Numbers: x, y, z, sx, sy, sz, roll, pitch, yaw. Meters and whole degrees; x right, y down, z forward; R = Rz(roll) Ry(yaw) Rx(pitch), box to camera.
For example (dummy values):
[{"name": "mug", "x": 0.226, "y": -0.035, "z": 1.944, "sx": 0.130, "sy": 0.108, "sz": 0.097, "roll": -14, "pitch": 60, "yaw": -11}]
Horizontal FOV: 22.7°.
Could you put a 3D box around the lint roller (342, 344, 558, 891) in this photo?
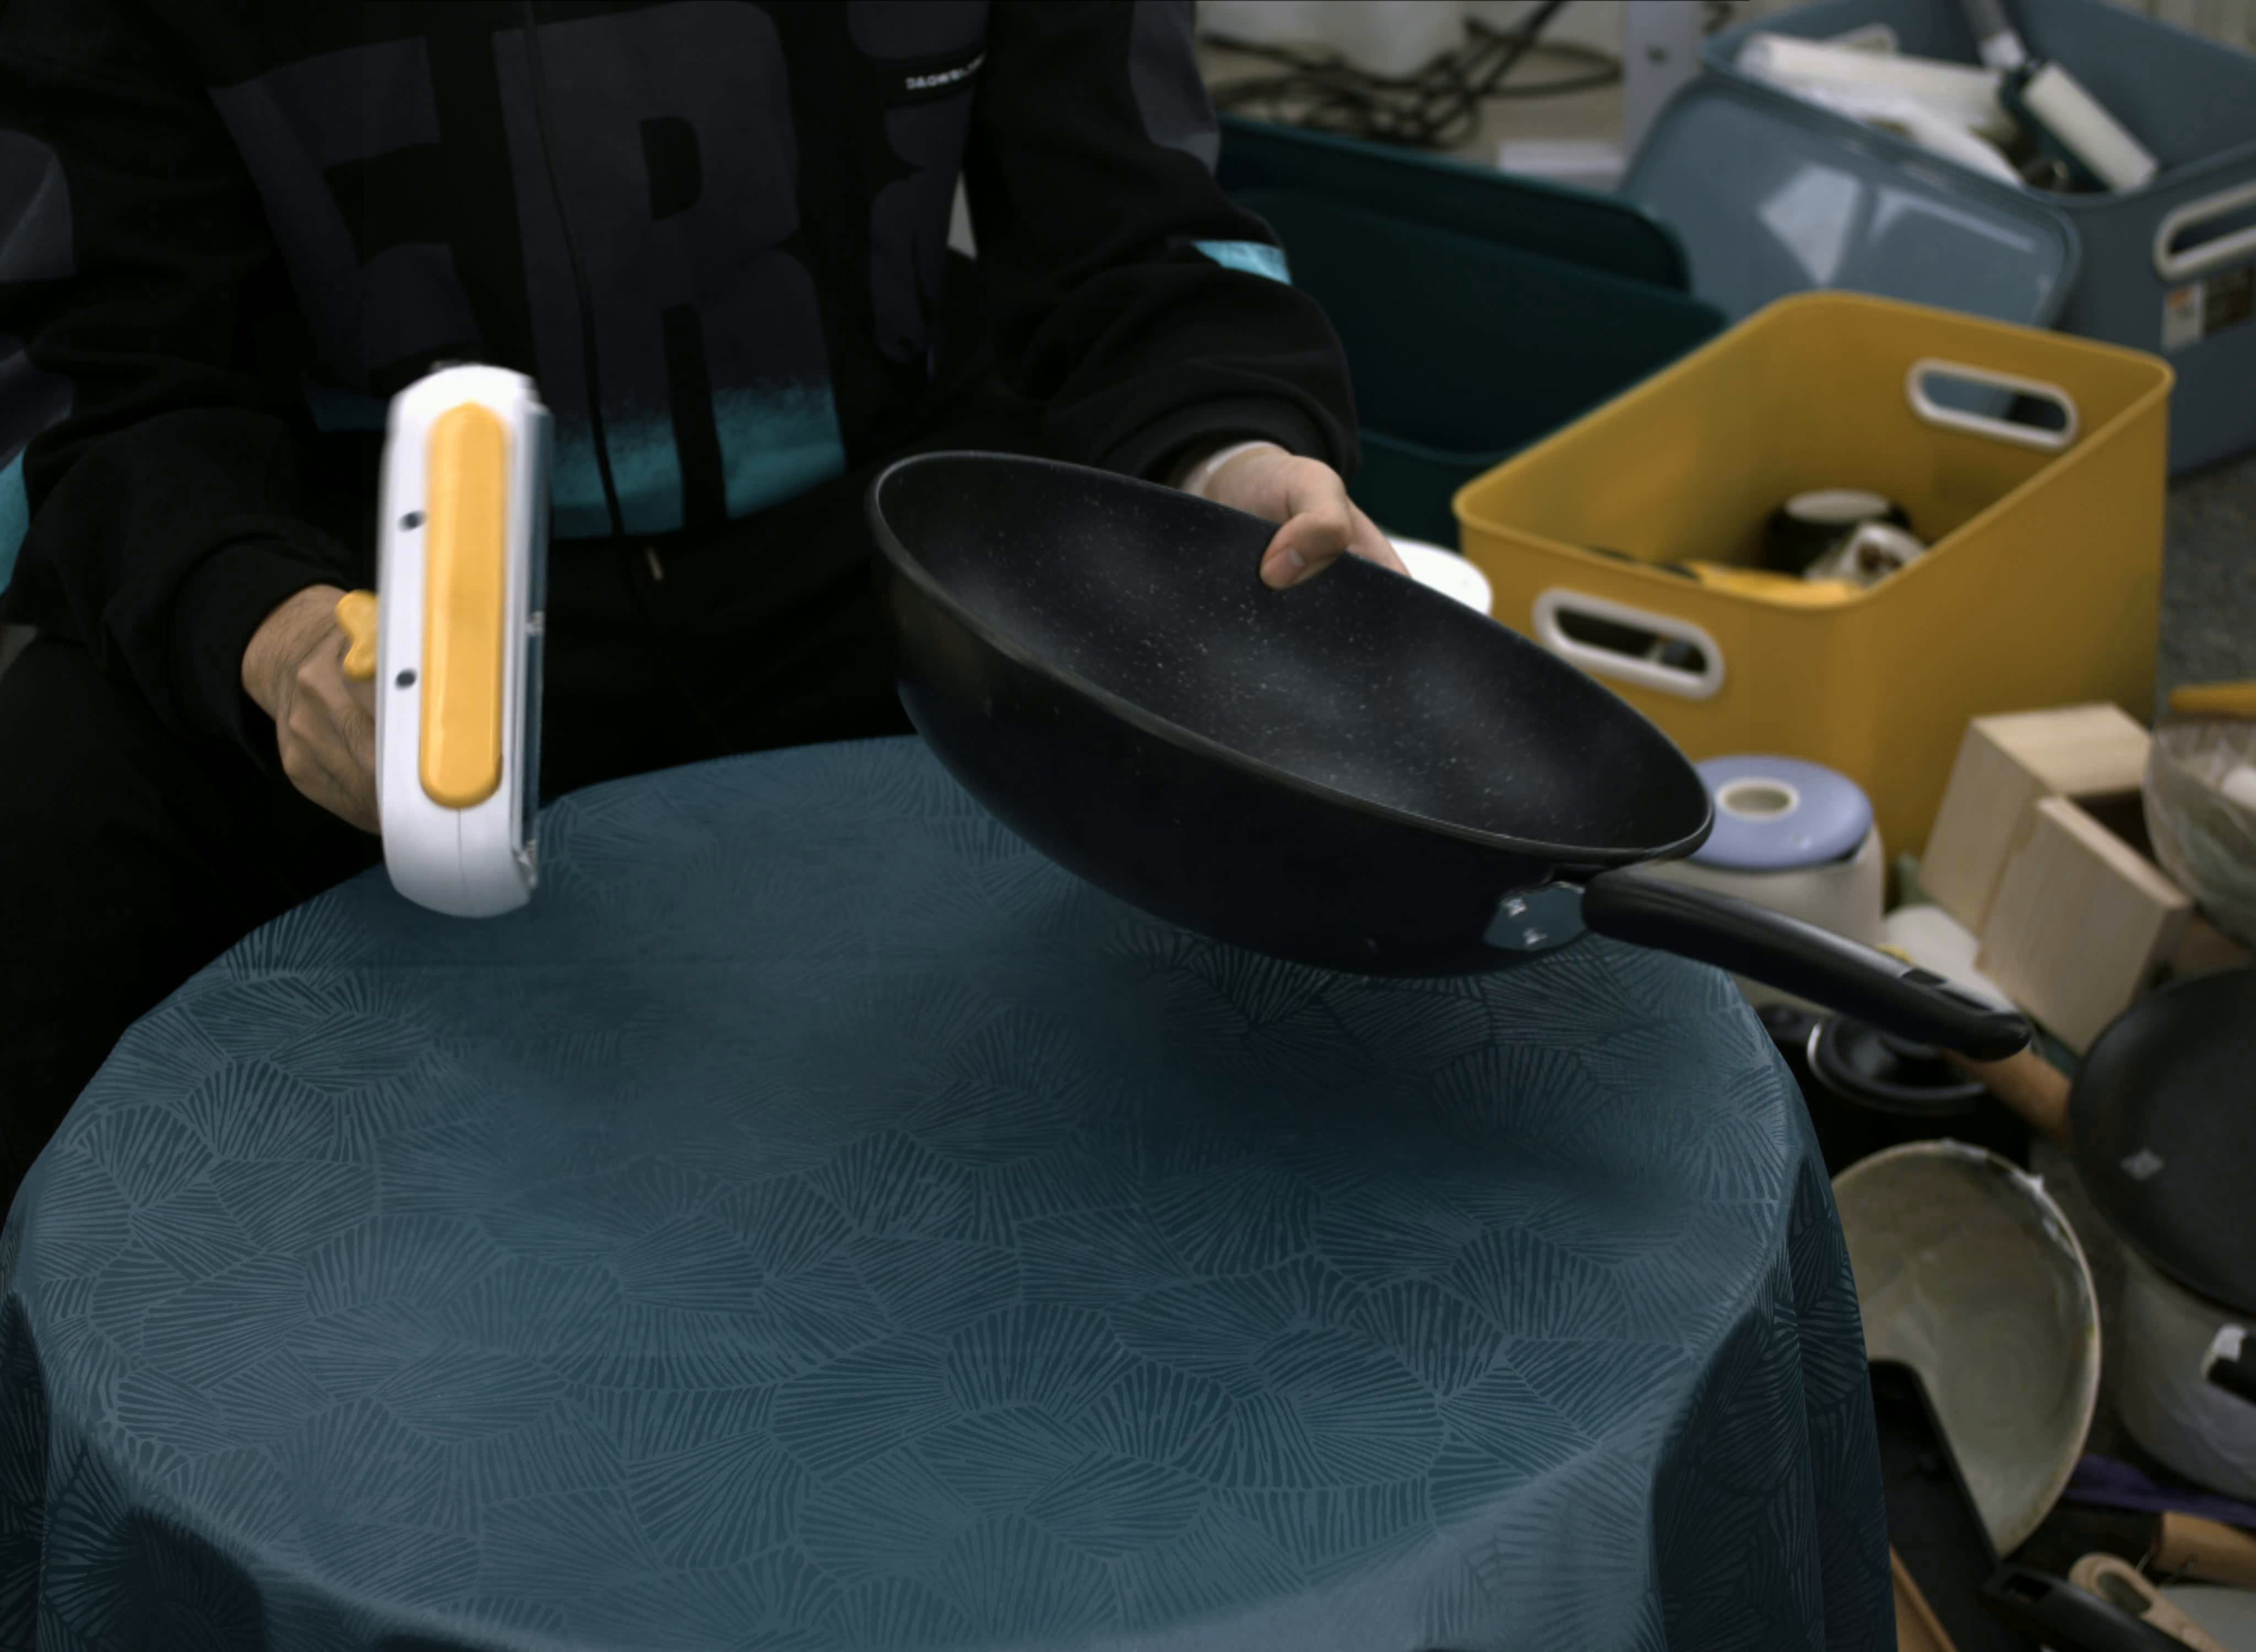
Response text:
[{"name": "lint roller", "x": -0.238, "y": -0.046, "z": 1.962, "sx": 0.074, "sy": 0.189, "sz": 0.196, "roll": 1, "pitch": 64, "yaw": -9}]

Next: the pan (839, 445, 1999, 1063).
[{"name": "pan", "x": 0.092, "y": 0.001, "z": 1.863, "sx": 0.311, "sy": 0.111, "sz": 0.478, "roll": 3, "pitch": 25, "yaw": -46}]
